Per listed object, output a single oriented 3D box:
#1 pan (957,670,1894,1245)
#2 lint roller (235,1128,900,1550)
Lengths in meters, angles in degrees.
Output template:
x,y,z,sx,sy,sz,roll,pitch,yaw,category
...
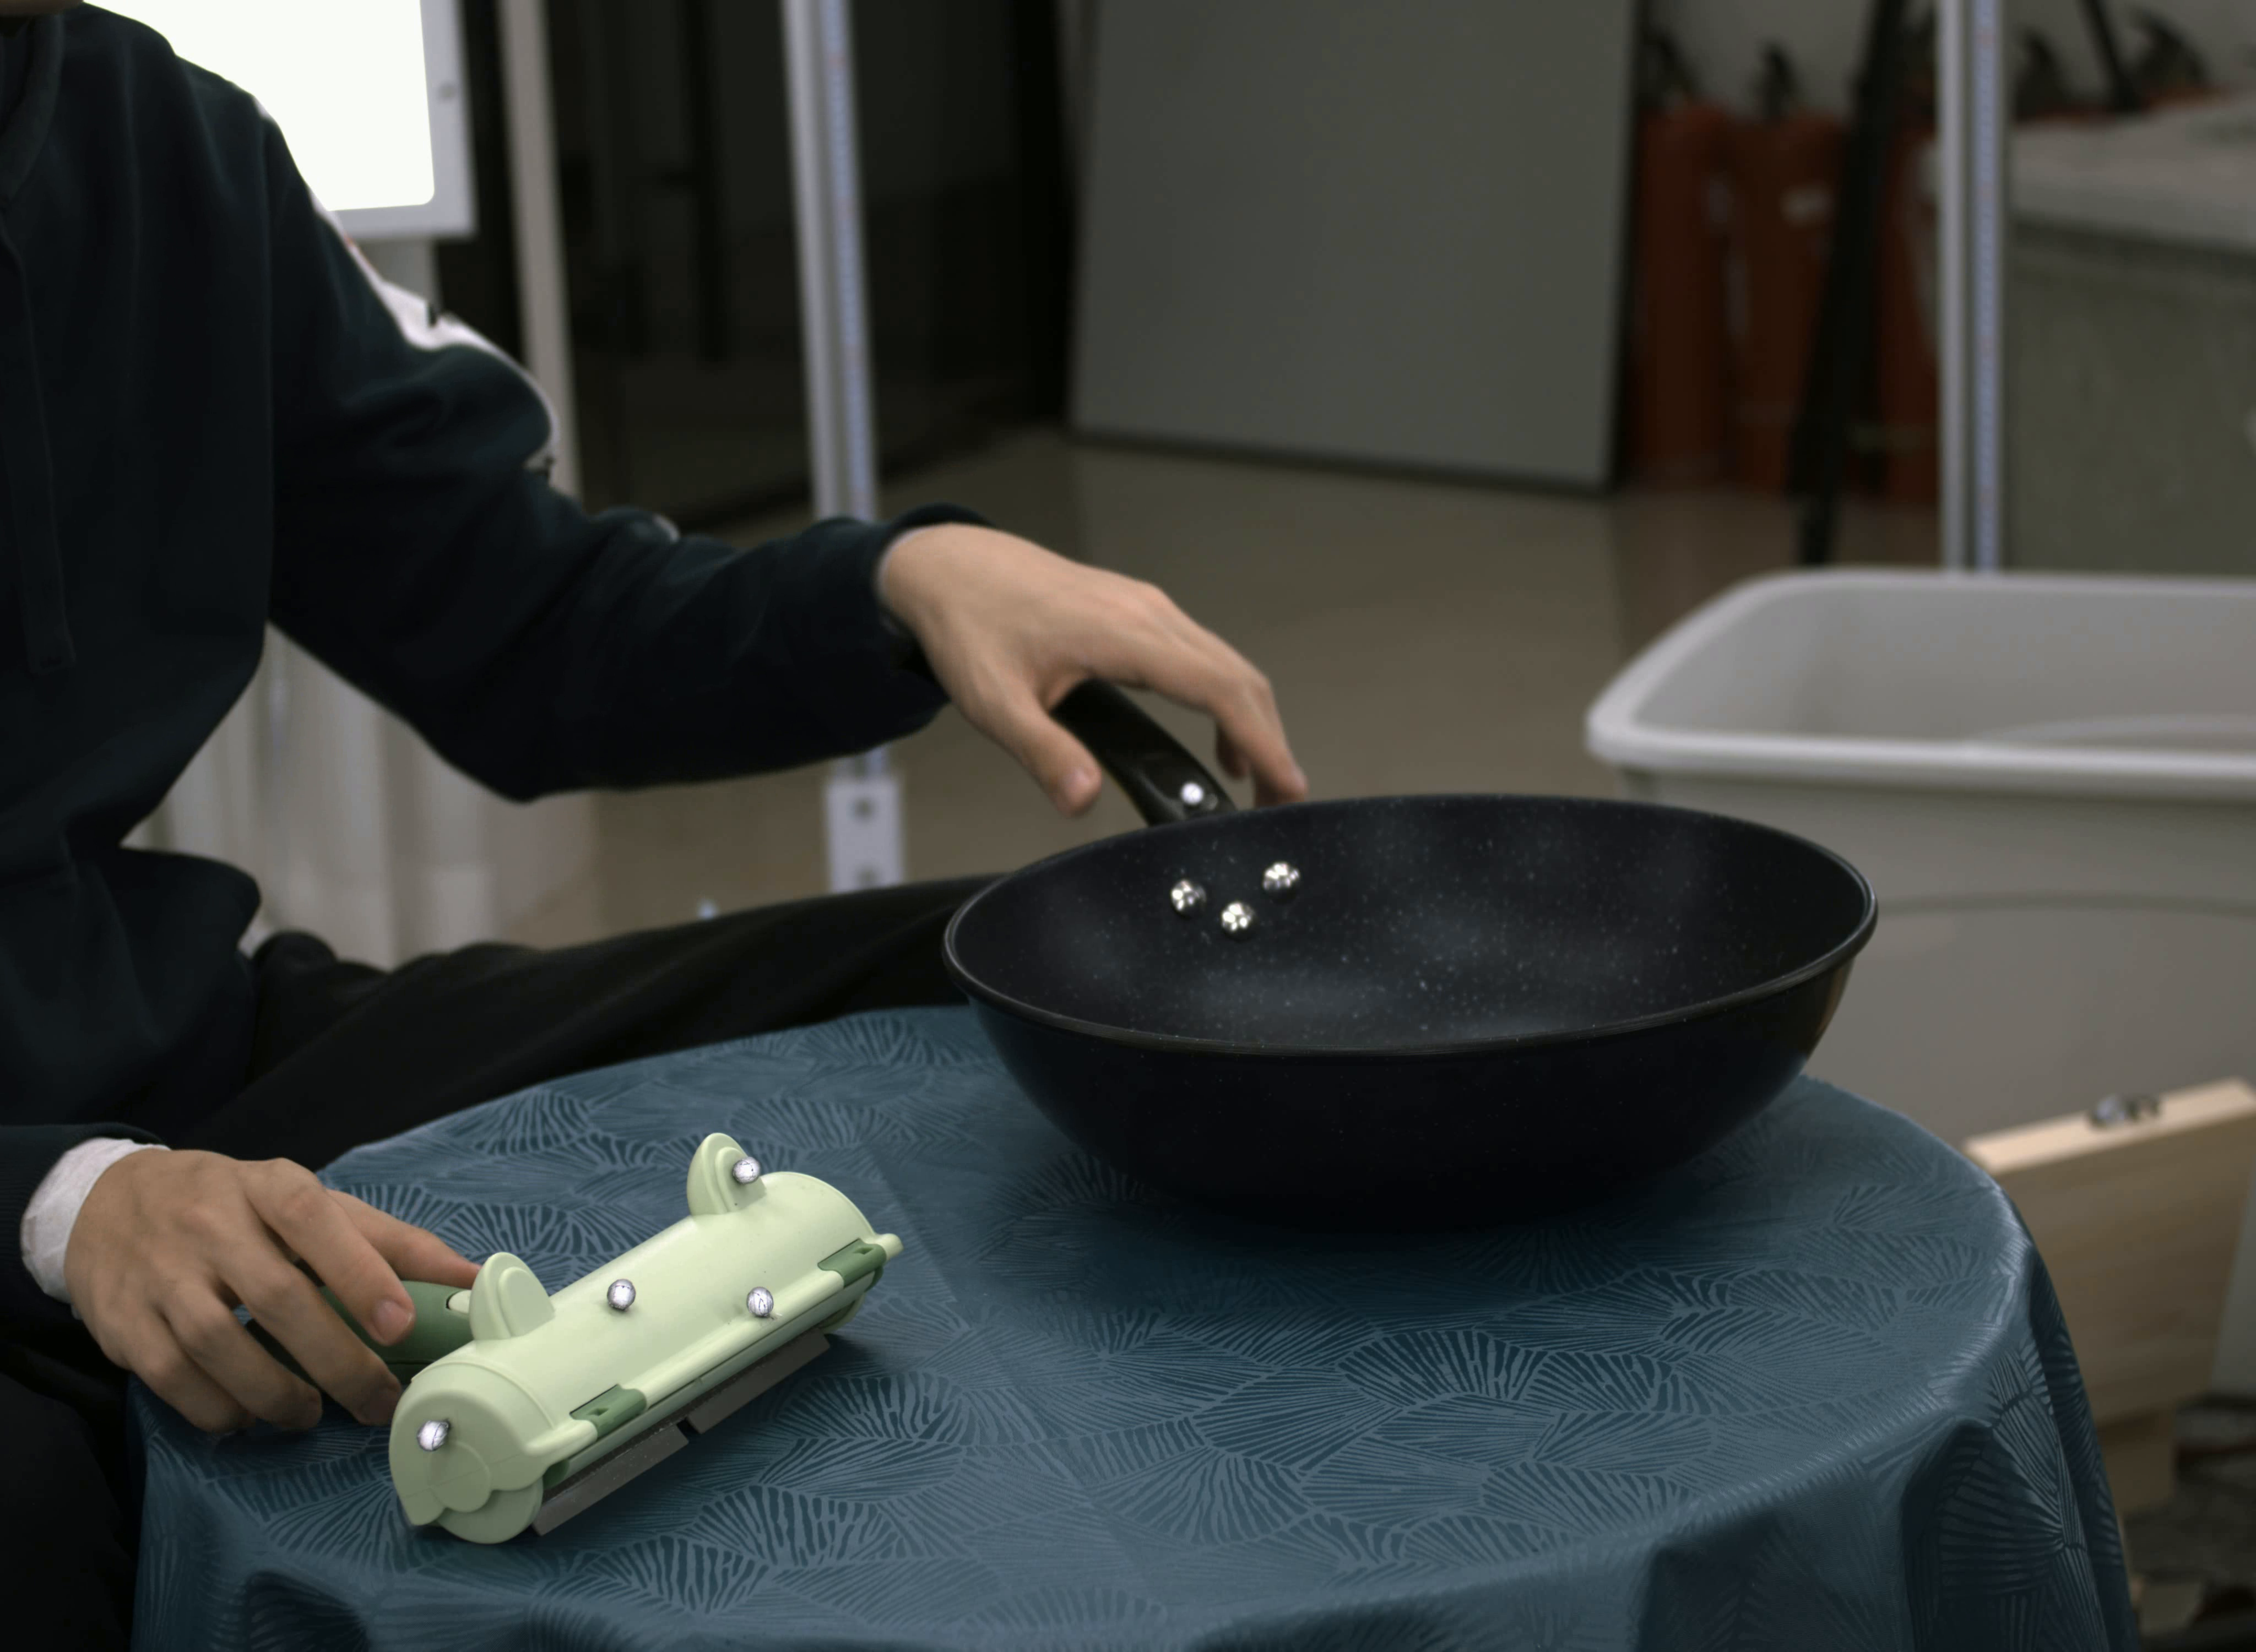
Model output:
x,y,z,sx,sy,sz,roll,pitch,yaw,category
0.064,0.044,1.845,0.303,0.113,0.481,-8,15,-22,pan
-0.189,0.138,1.599,0.184,0.083,0.196,9,19,27,lint roller
